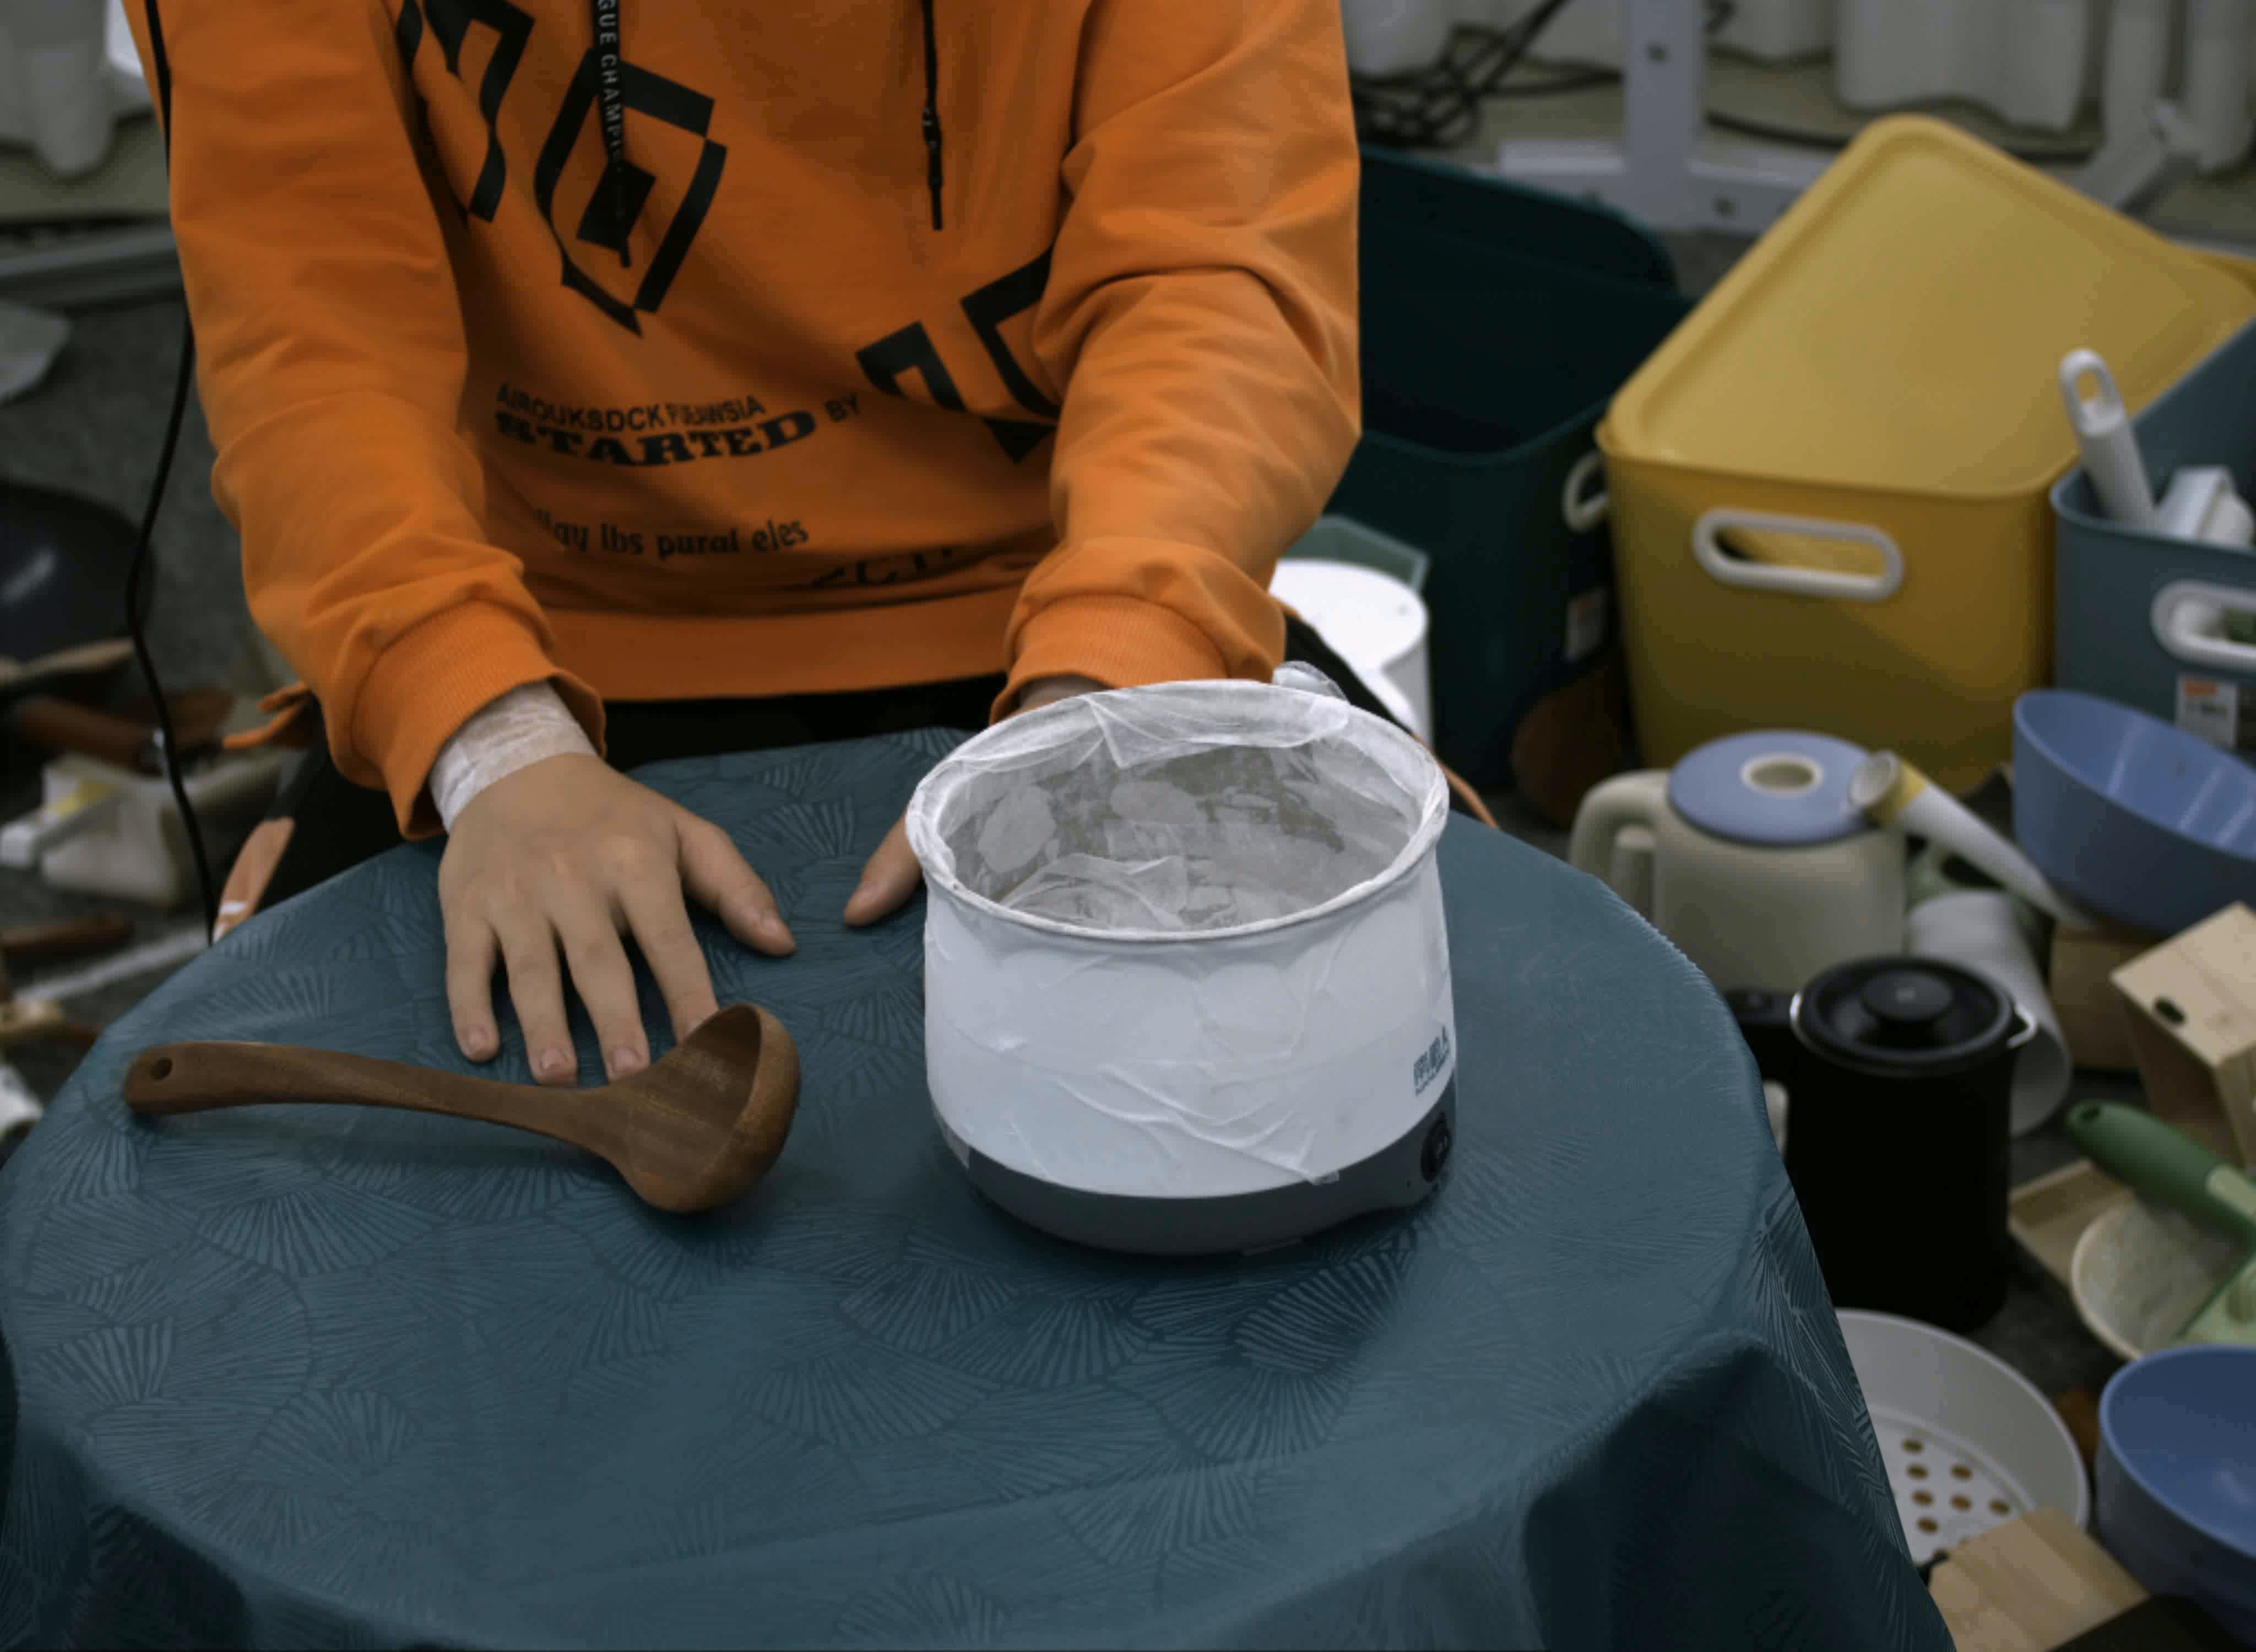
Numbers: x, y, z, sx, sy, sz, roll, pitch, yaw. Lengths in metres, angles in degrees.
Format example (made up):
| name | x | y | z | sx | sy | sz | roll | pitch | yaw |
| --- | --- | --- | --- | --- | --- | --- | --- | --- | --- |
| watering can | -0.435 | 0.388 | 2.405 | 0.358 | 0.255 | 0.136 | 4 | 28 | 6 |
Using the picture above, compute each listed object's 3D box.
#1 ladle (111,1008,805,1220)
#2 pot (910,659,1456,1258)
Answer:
| name | x | y | z | sx | sy | sz | roll | pitch | yaw |
| --- | --- | --- | --- | --- | --- | --- | --- | --- | --- |
| ladle | -0.230 | 0.087 | 1.887 | 0.258 | 0.064 | 0.078 | 6 | 53 | 15 |
| pot | 0.030 | 0.036 | 1.877 | 0.177 | 0.135 | 0.238 | 9 | 30 | 21 |
